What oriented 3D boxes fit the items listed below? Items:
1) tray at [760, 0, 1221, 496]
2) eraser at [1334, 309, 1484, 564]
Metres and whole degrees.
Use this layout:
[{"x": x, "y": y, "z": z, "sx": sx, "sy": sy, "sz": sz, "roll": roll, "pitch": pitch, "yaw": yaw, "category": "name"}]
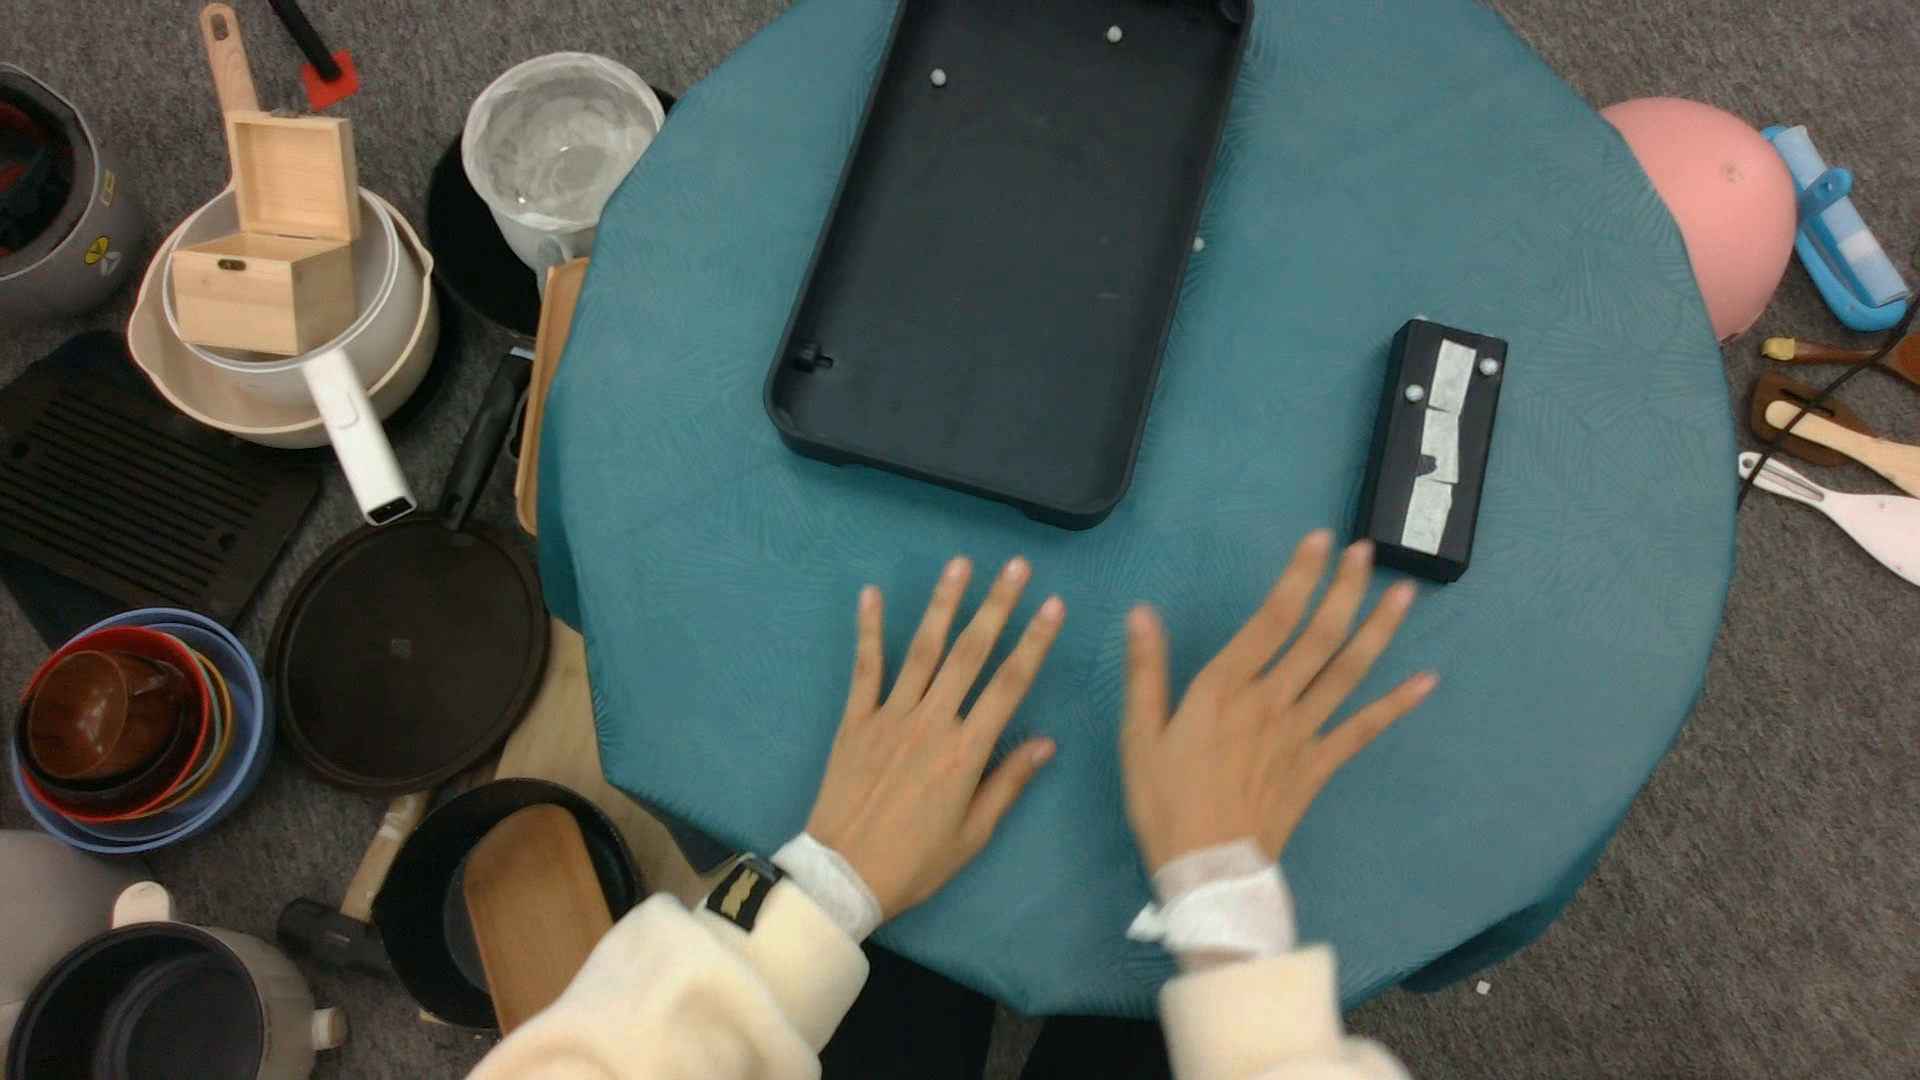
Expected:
[{"x": 0.023, "y": -0.186, "z": 0.715, "sx": 0.184, "sy": 0.037, "sz": 0.319, "roll": 12, "pitch": 72, "yaw": 2, "category": "tray"}, {"x": 0.223, "y": -0.053, "z": 0.686, "sx": 0.053, "sy": 0.030, "sz": 0.126, "roll": 13, "pitch": 73, "yaw": 6, "category": "eraser"}]
